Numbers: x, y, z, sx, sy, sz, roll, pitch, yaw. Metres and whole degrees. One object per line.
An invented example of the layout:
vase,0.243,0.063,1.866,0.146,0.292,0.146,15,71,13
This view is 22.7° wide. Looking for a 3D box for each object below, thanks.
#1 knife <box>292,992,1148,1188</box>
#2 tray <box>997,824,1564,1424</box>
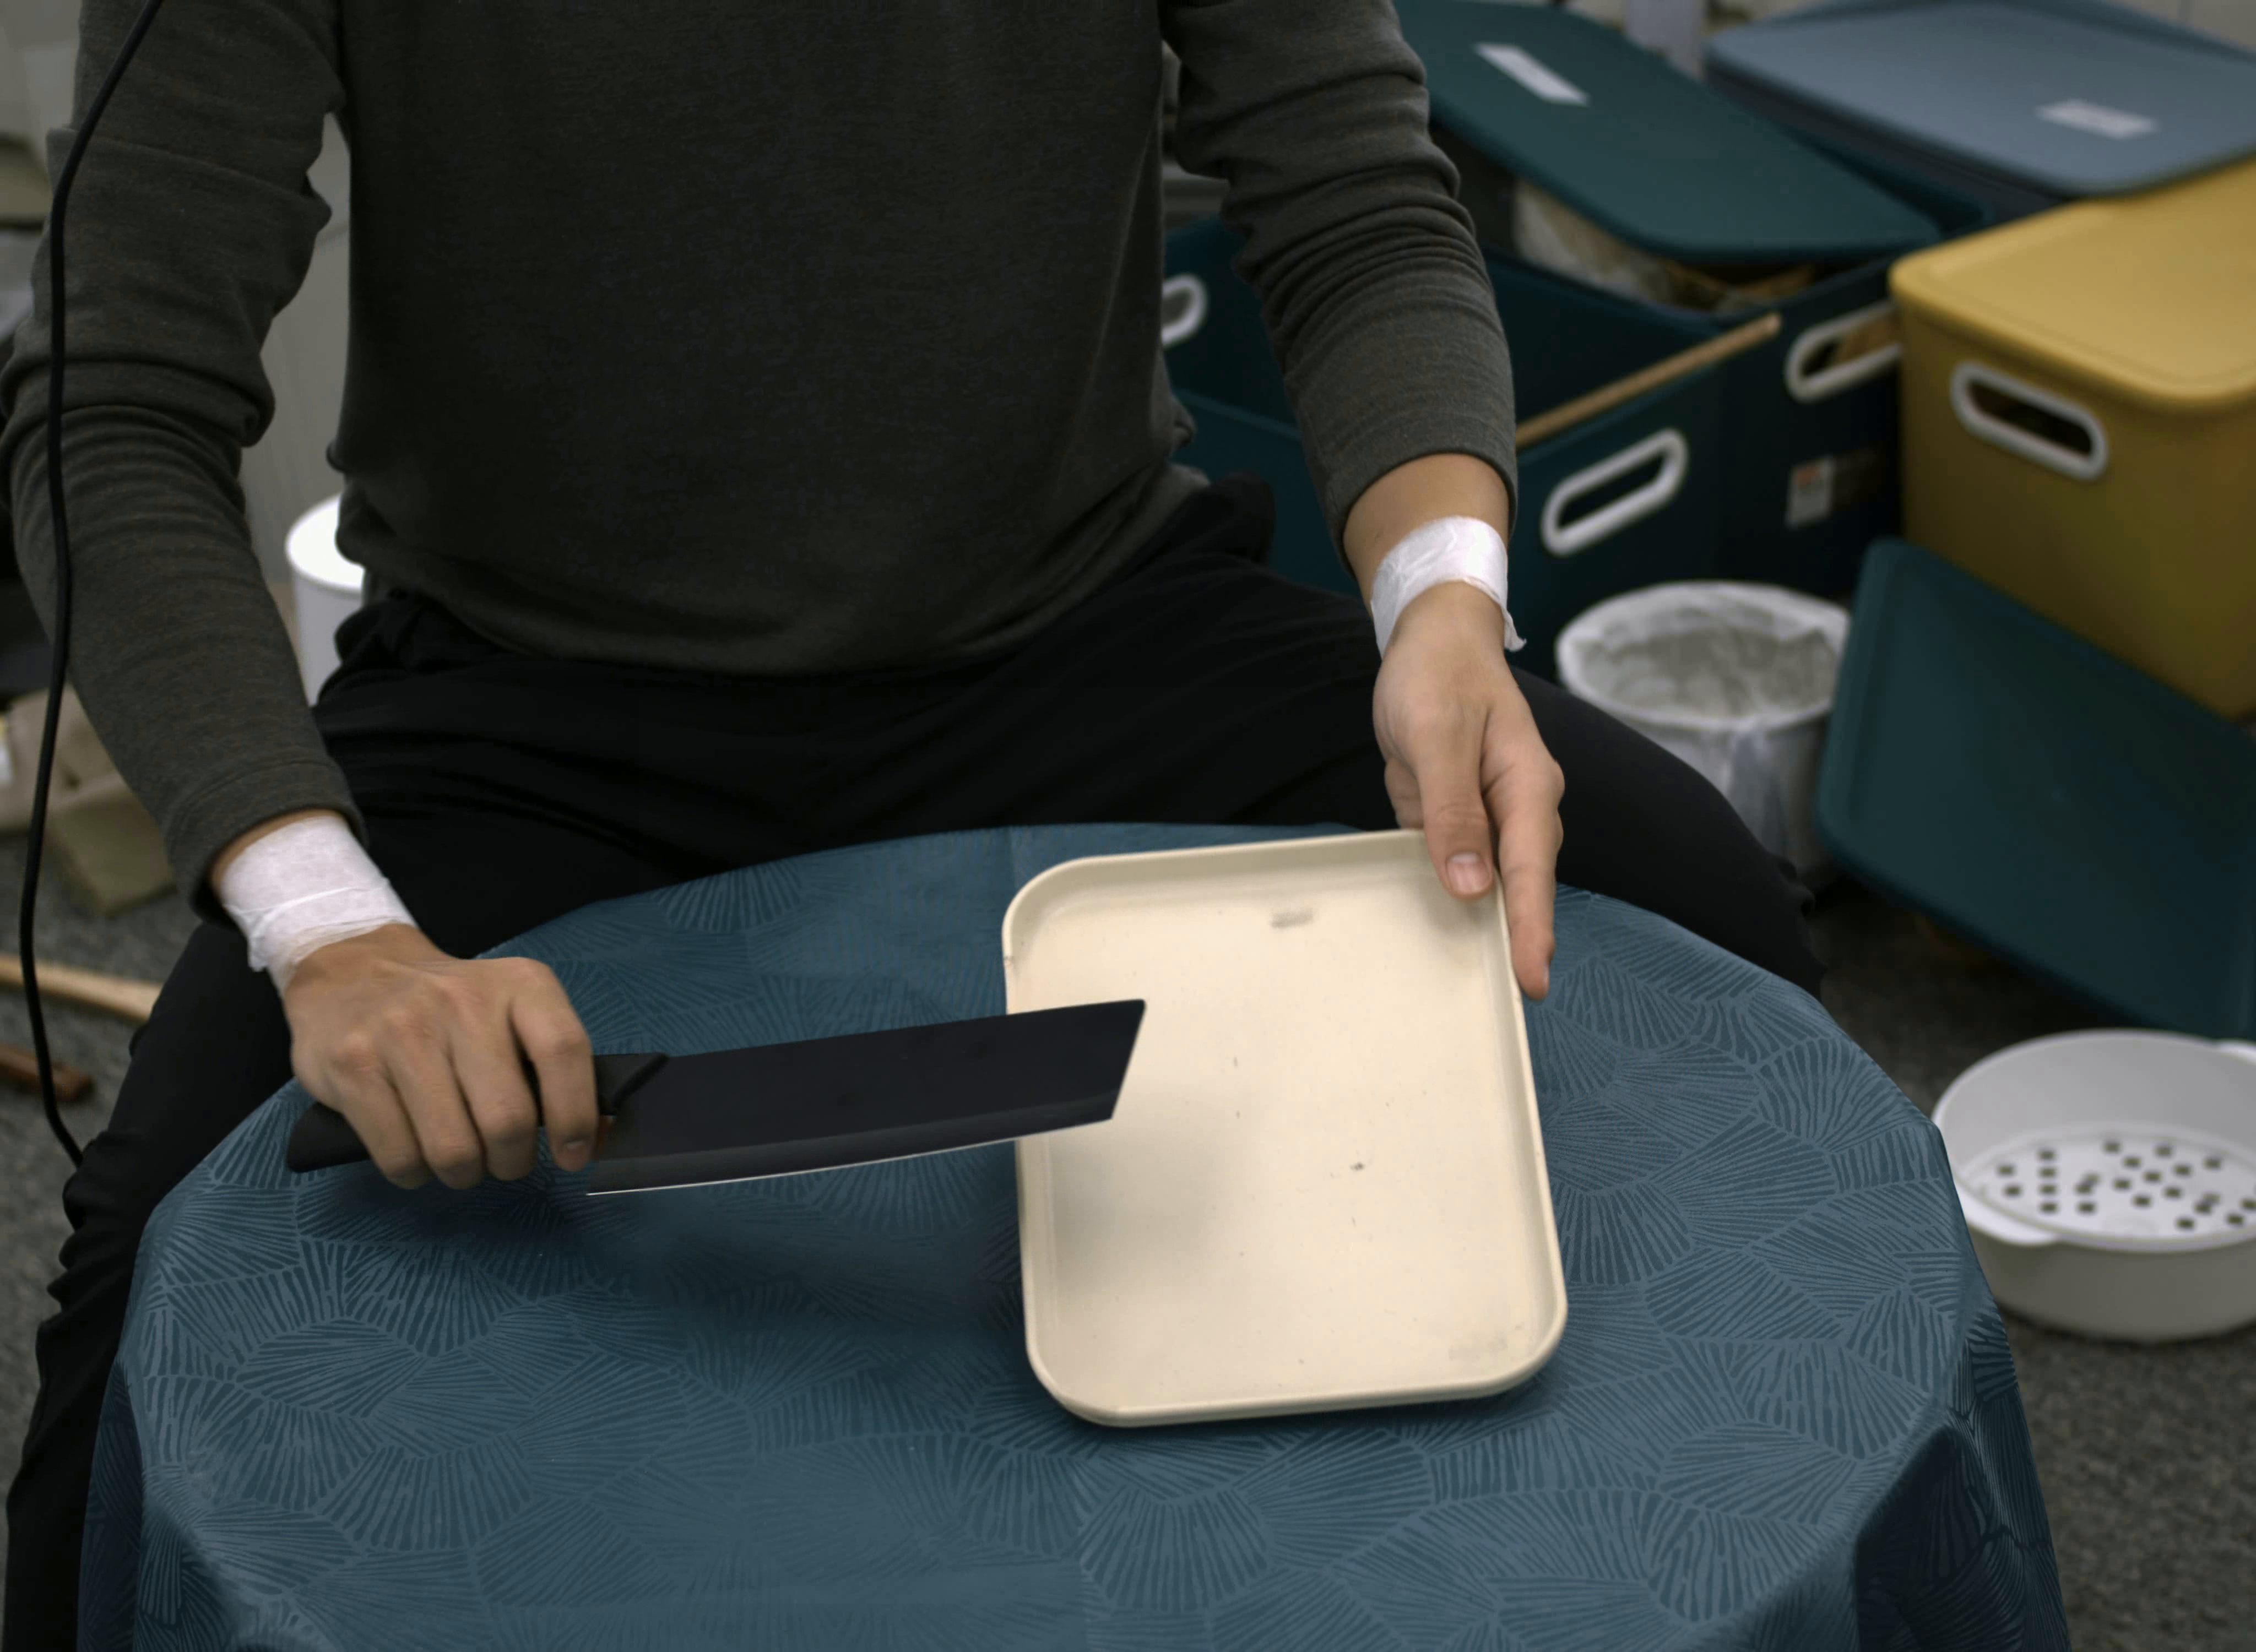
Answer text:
knife,-0.136,0.091,1.810,0.299,0.020,0.082,-6,35,23
tray,0.046,0.095,1.815,0.170,0.017,0.244,-4,45,0
